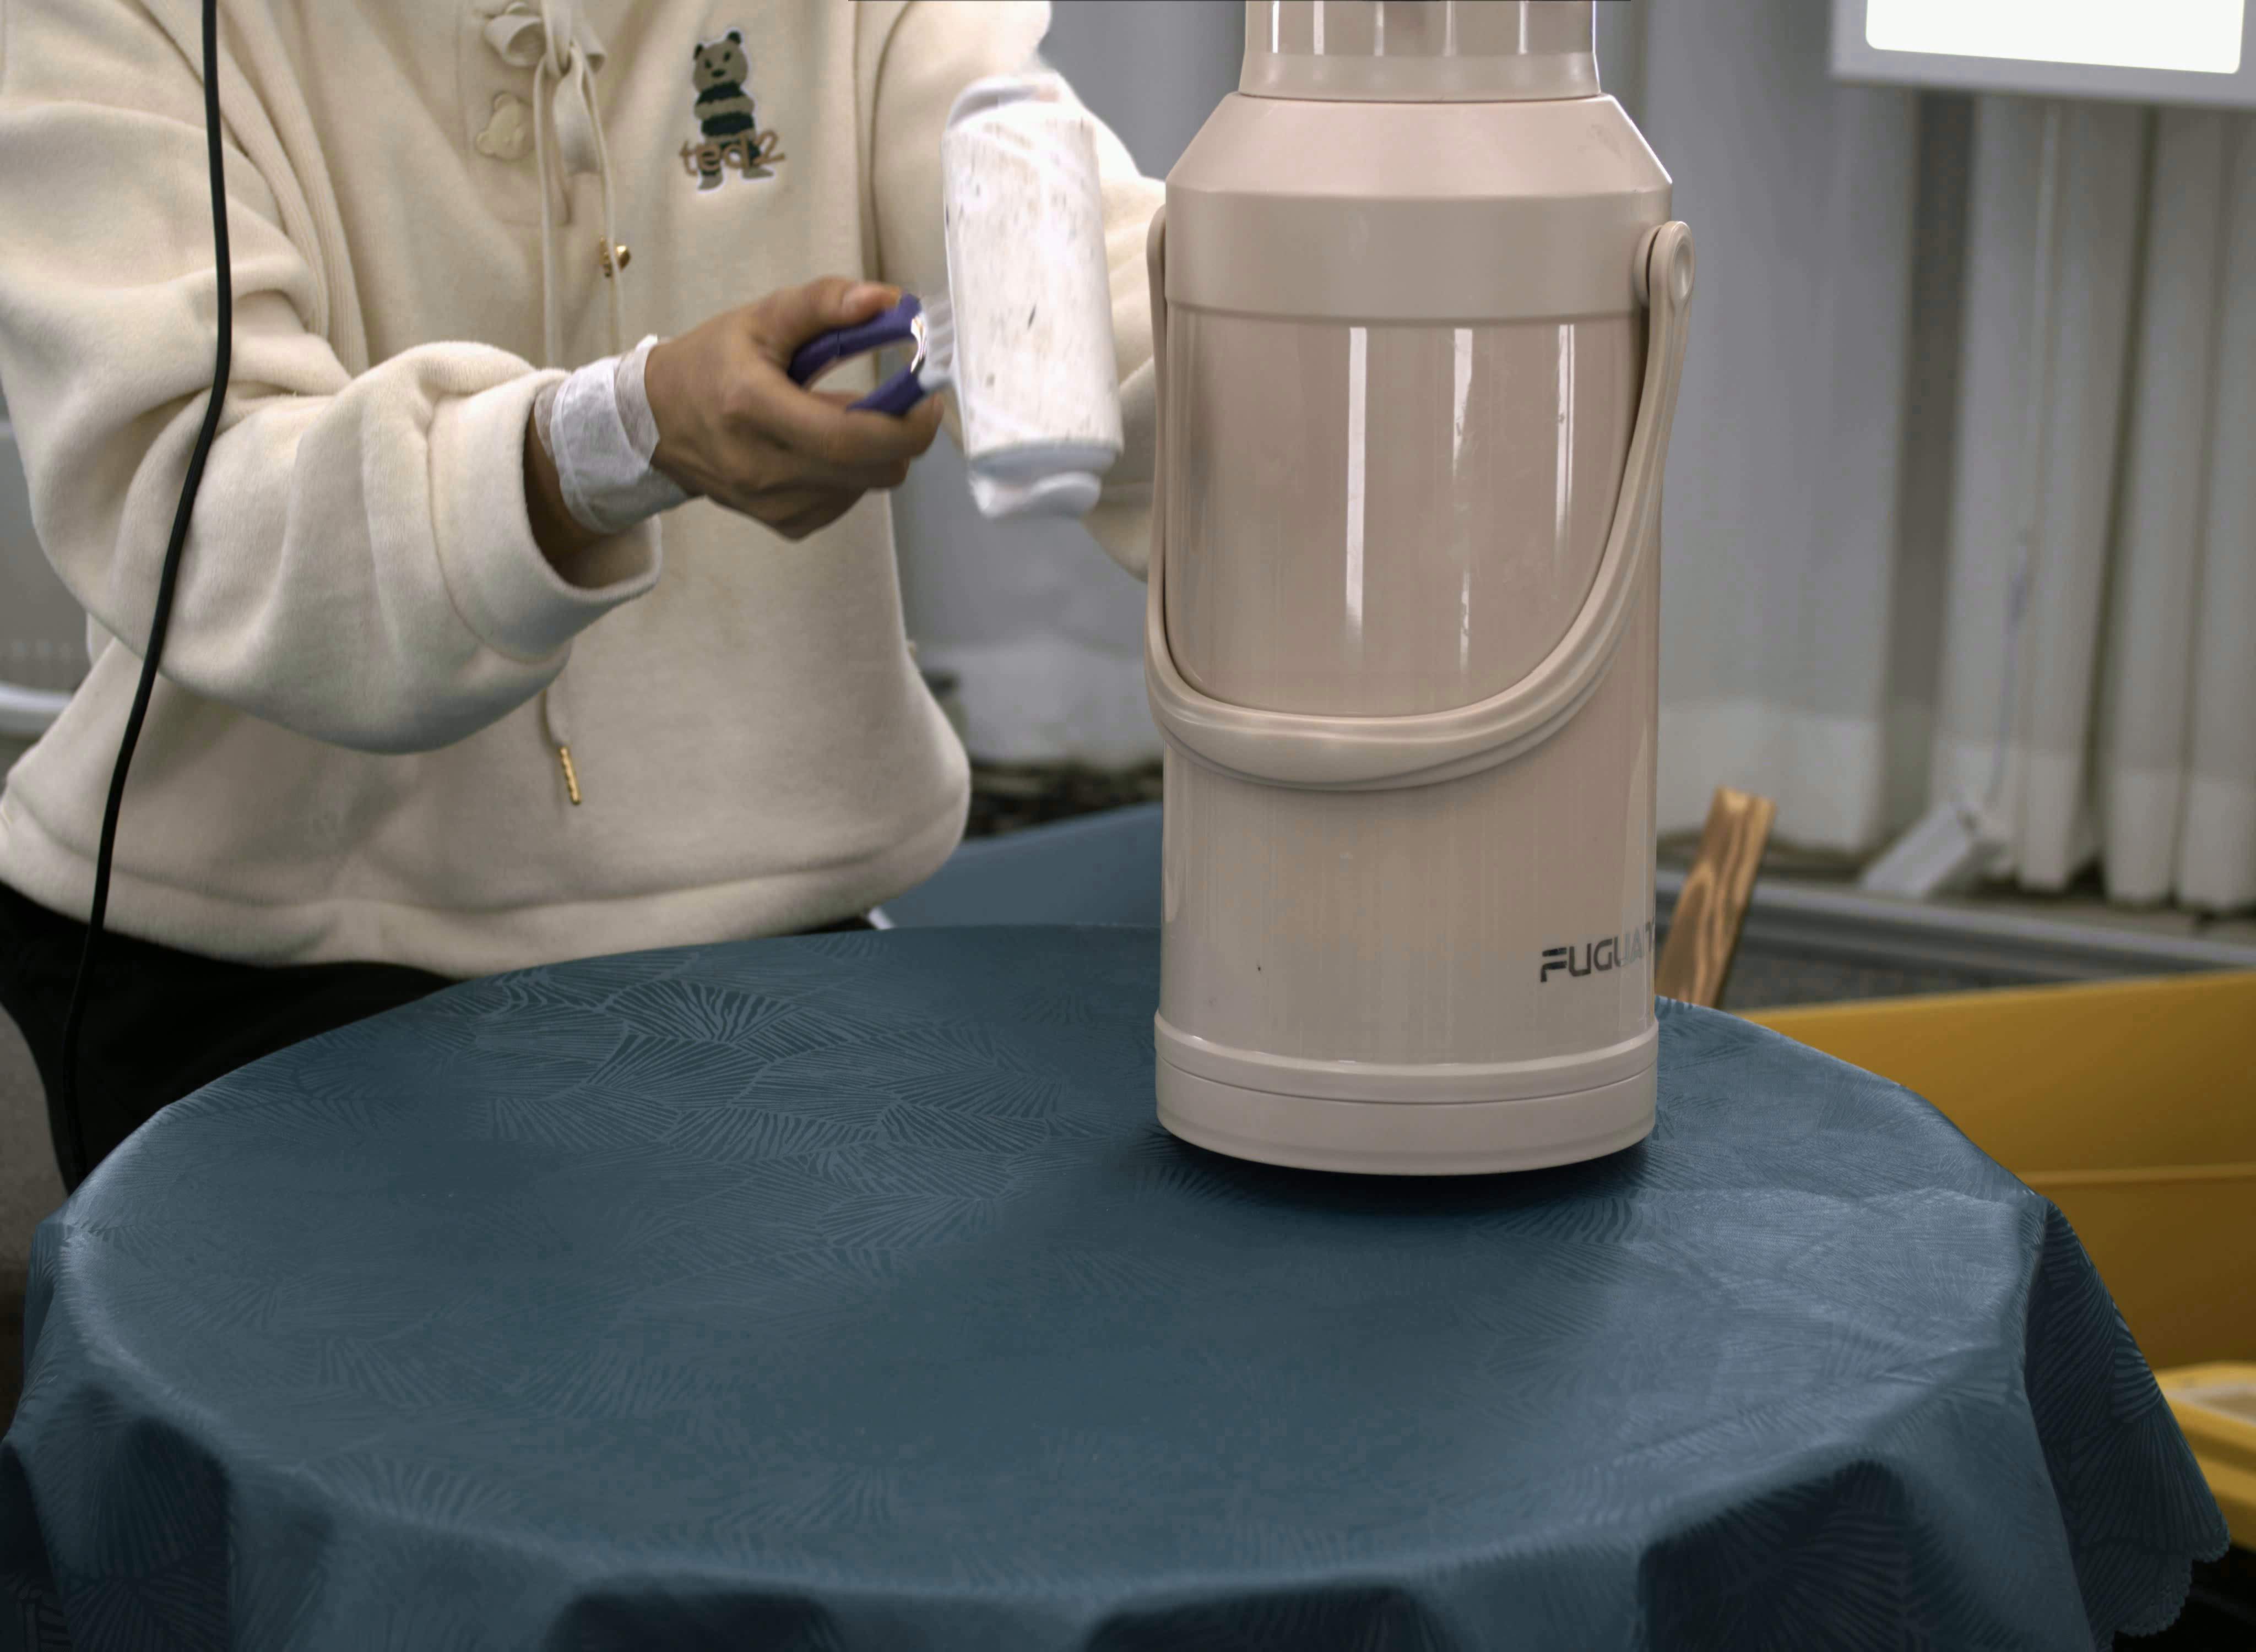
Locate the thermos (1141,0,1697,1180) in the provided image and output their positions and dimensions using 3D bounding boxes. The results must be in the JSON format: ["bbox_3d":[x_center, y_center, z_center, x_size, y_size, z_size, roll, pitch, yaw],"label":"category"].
[{"bbox_3d":[0.096,-0.105,1.642,0.173,0.409,0.208,5,11,26],"label":"thermos"}]

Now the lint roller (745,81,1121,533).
[{"bbox_3d":[-0.072,-0.144,1.588,0.050,0.133,0.179,2,-8,-43],"label":"lint roller"}]
